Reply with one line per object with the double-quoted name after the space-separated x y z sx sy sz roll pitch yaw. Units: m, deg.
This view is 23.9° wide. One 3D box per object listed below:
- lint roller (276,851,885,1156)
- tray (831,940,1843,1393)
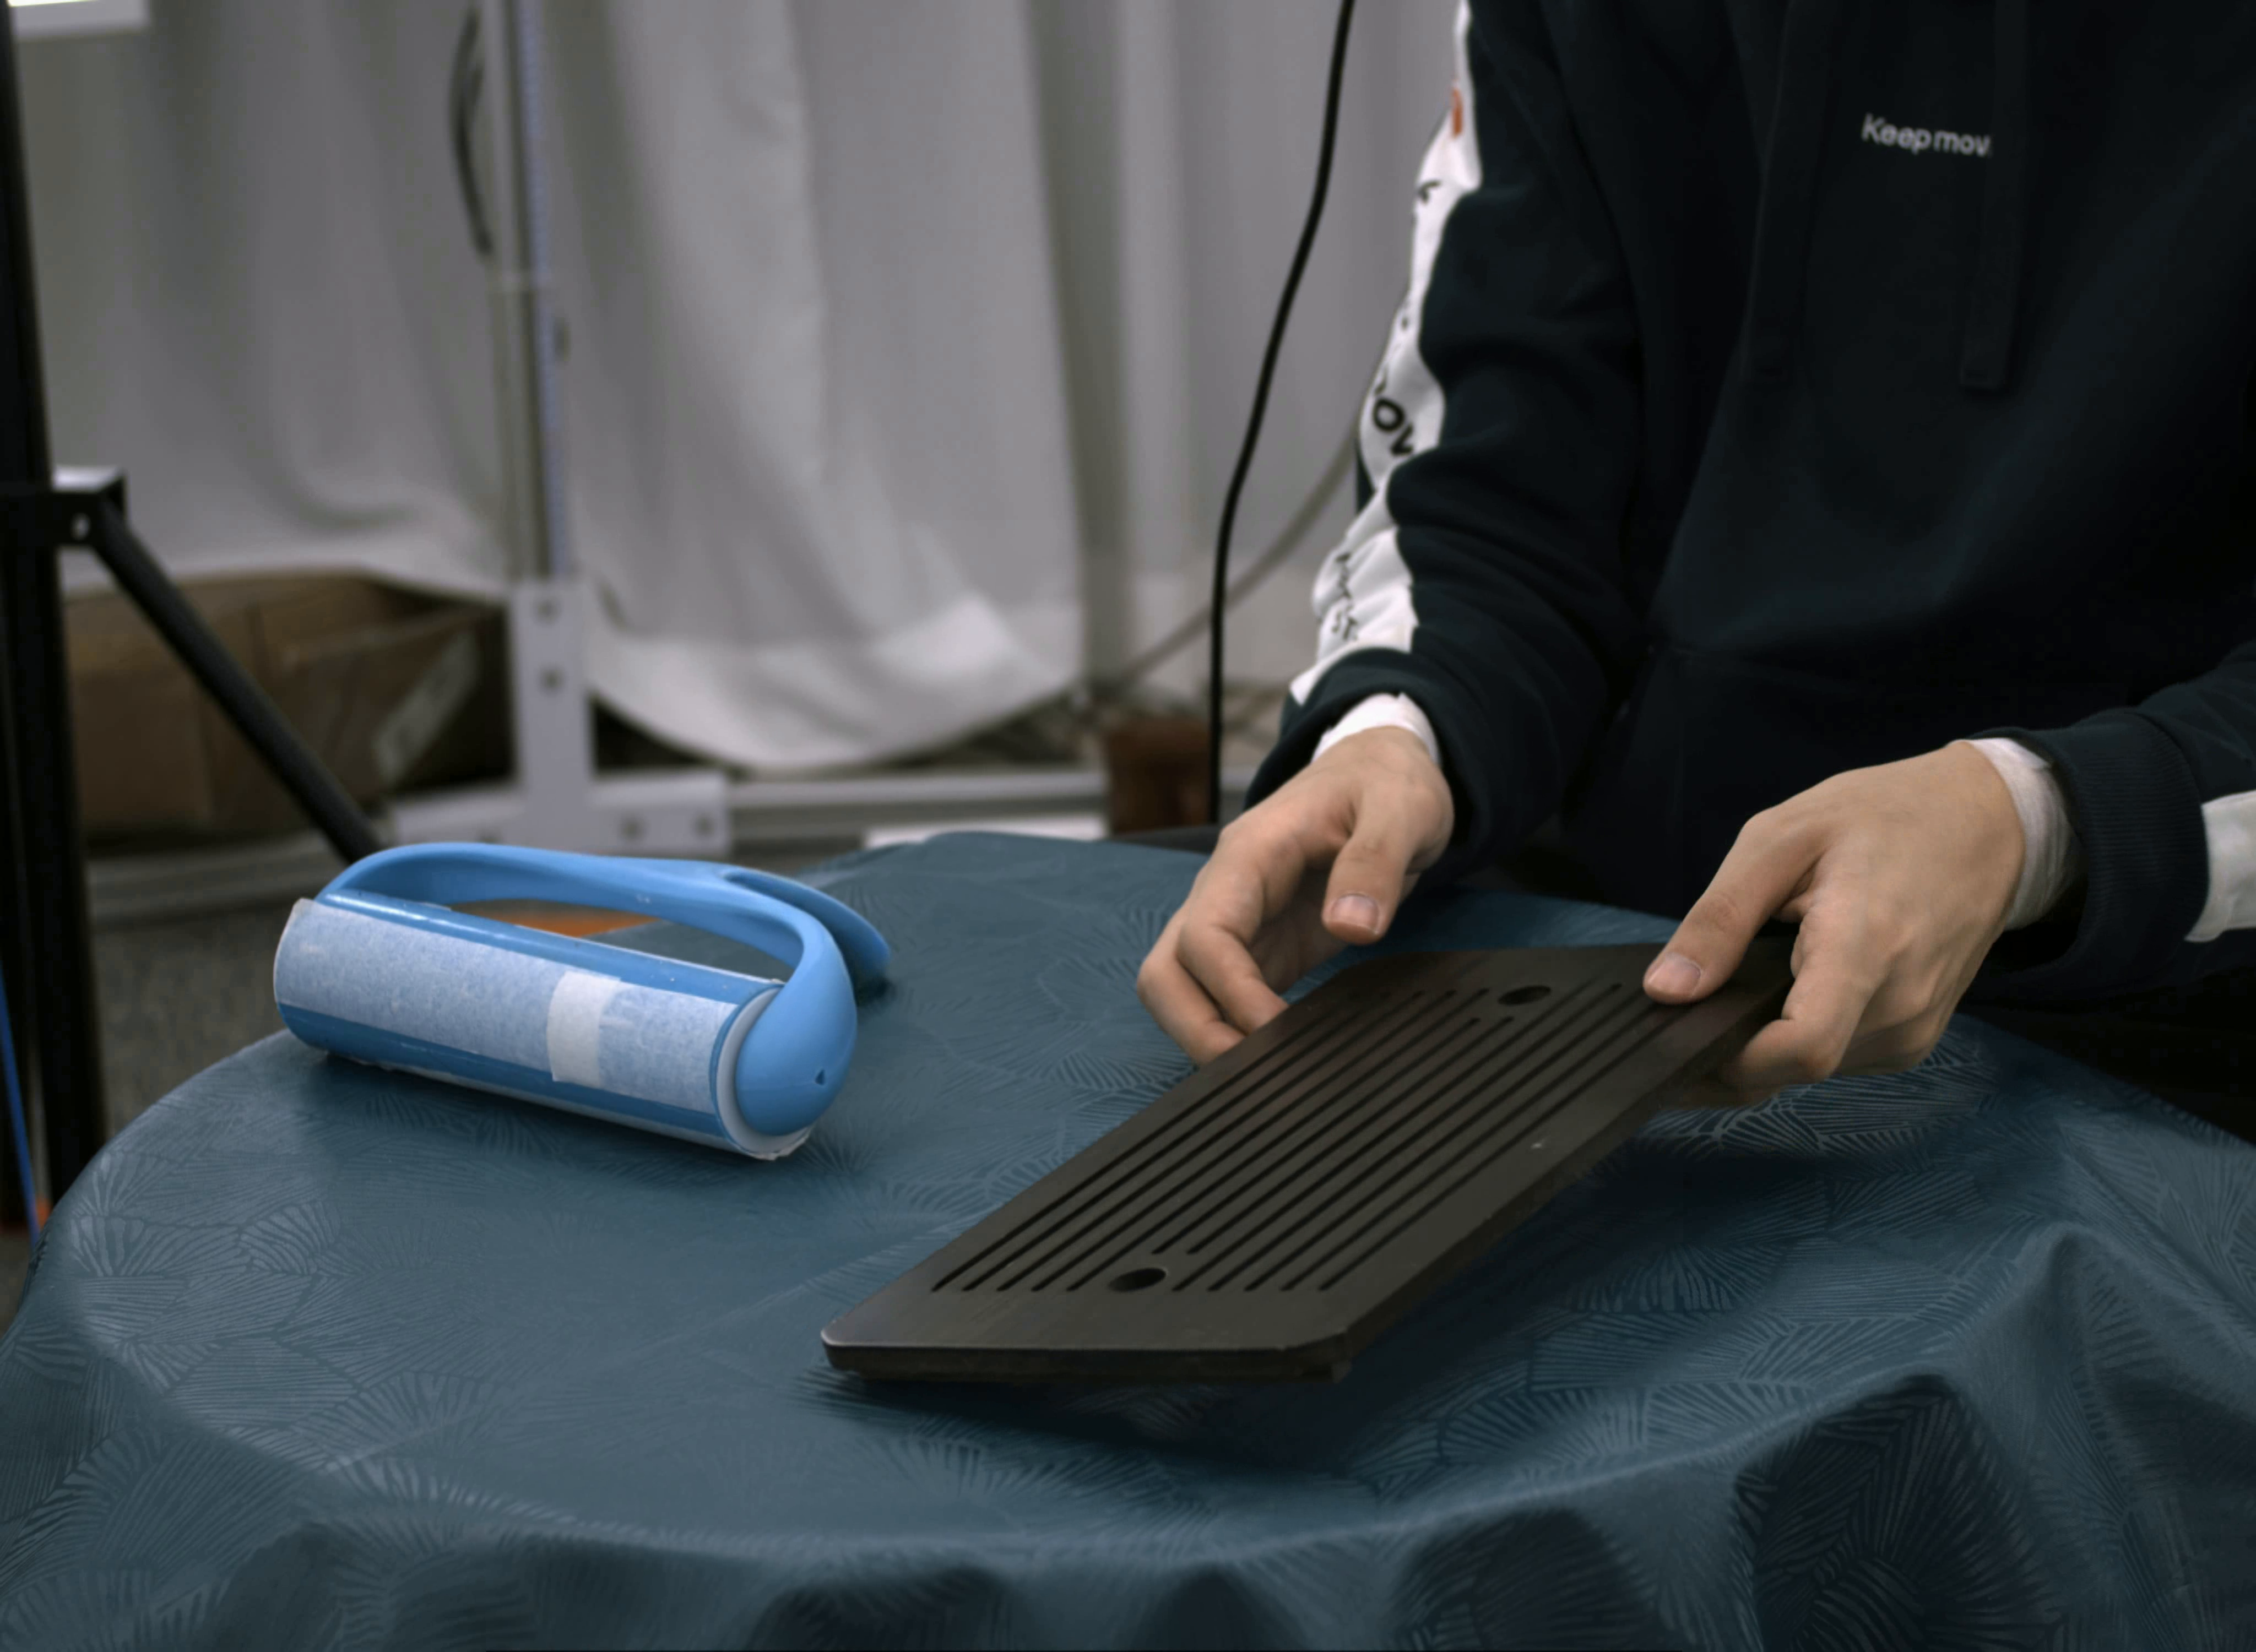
-0.145 0.044 1.703 0.234 0.068 0.176 7 20 37 "lint roller"
0.065 0.094 1.480 0.173 0.018 0.300 -4 17 36 "tray"
